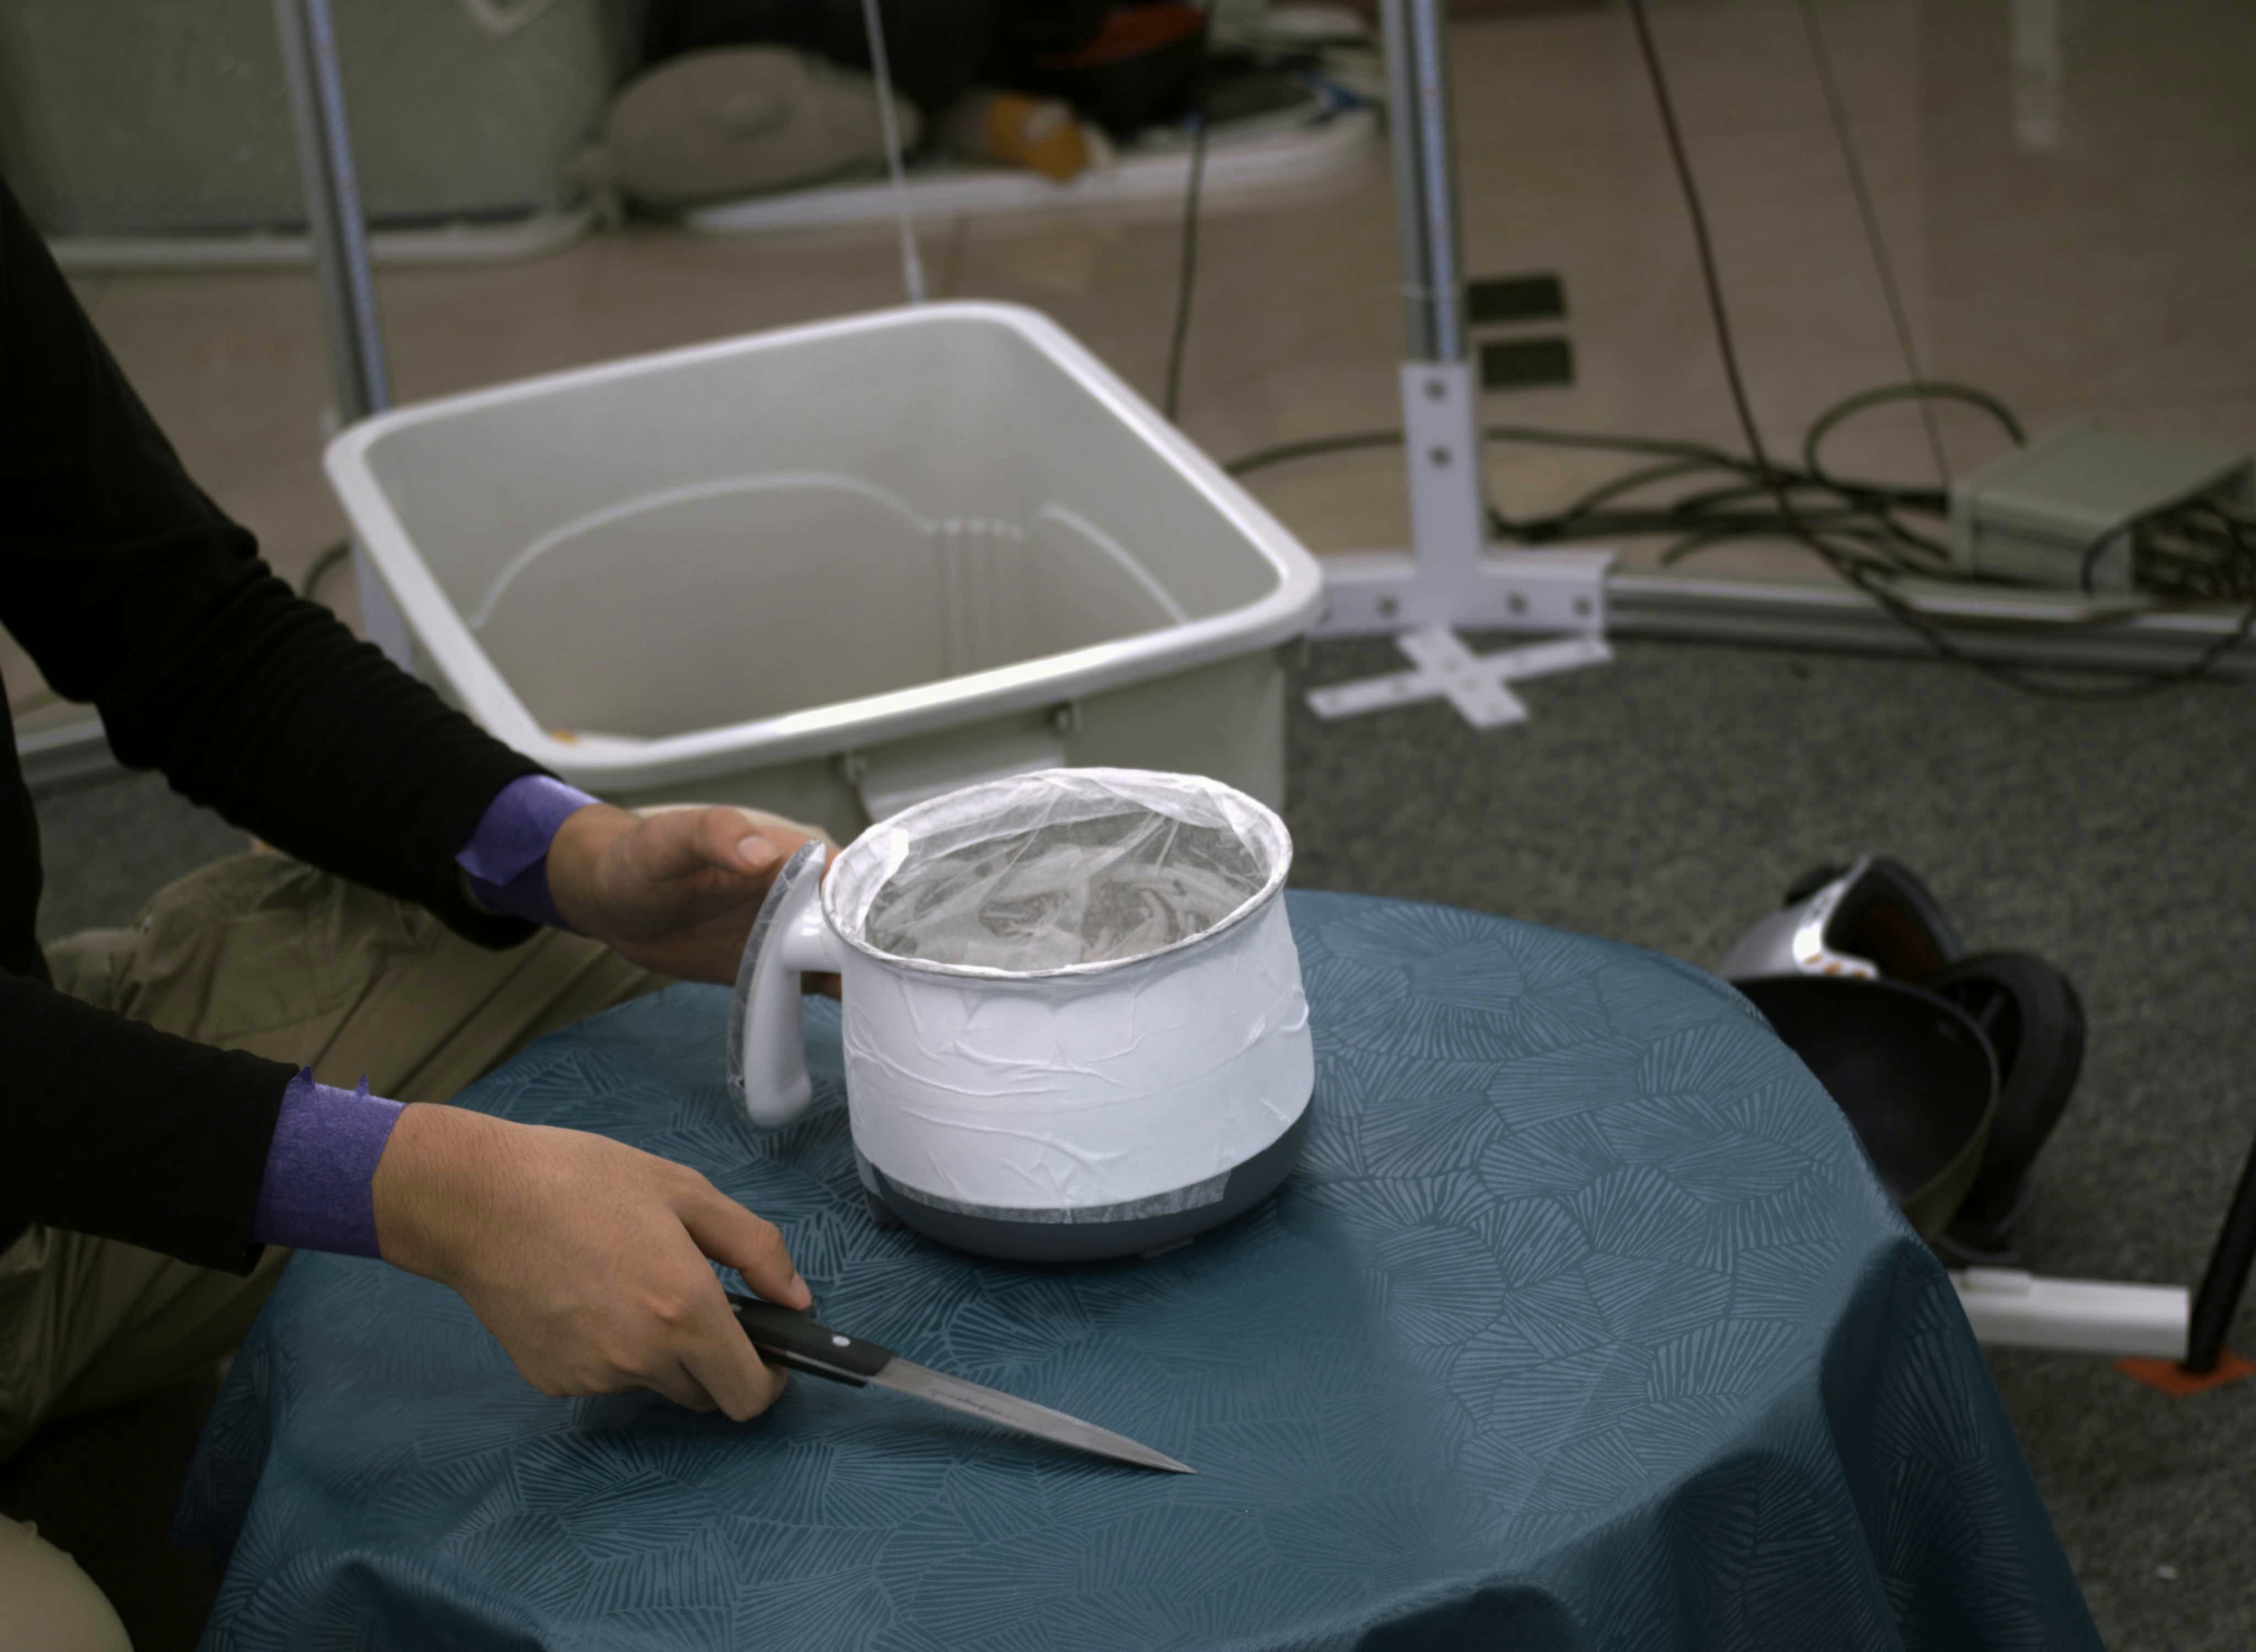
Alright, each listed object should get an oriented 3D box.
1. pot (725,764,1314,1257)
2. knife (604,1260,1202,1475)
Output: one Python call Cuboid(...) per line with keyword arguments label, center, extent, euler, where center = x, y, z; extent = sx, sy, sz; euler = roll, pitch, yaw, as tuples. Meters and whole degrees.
Cuboid(label="pot", center=(-0.046, 0.069, 2.140), extent=(0.233, 0.139, 0.176), euler=(4, 26, 19))
Cuboid(label="knife", center=(-0.083, 0.193, 2.004), extent=(0.237, 0.016, 0.024), euler=(16, 12, 20))
